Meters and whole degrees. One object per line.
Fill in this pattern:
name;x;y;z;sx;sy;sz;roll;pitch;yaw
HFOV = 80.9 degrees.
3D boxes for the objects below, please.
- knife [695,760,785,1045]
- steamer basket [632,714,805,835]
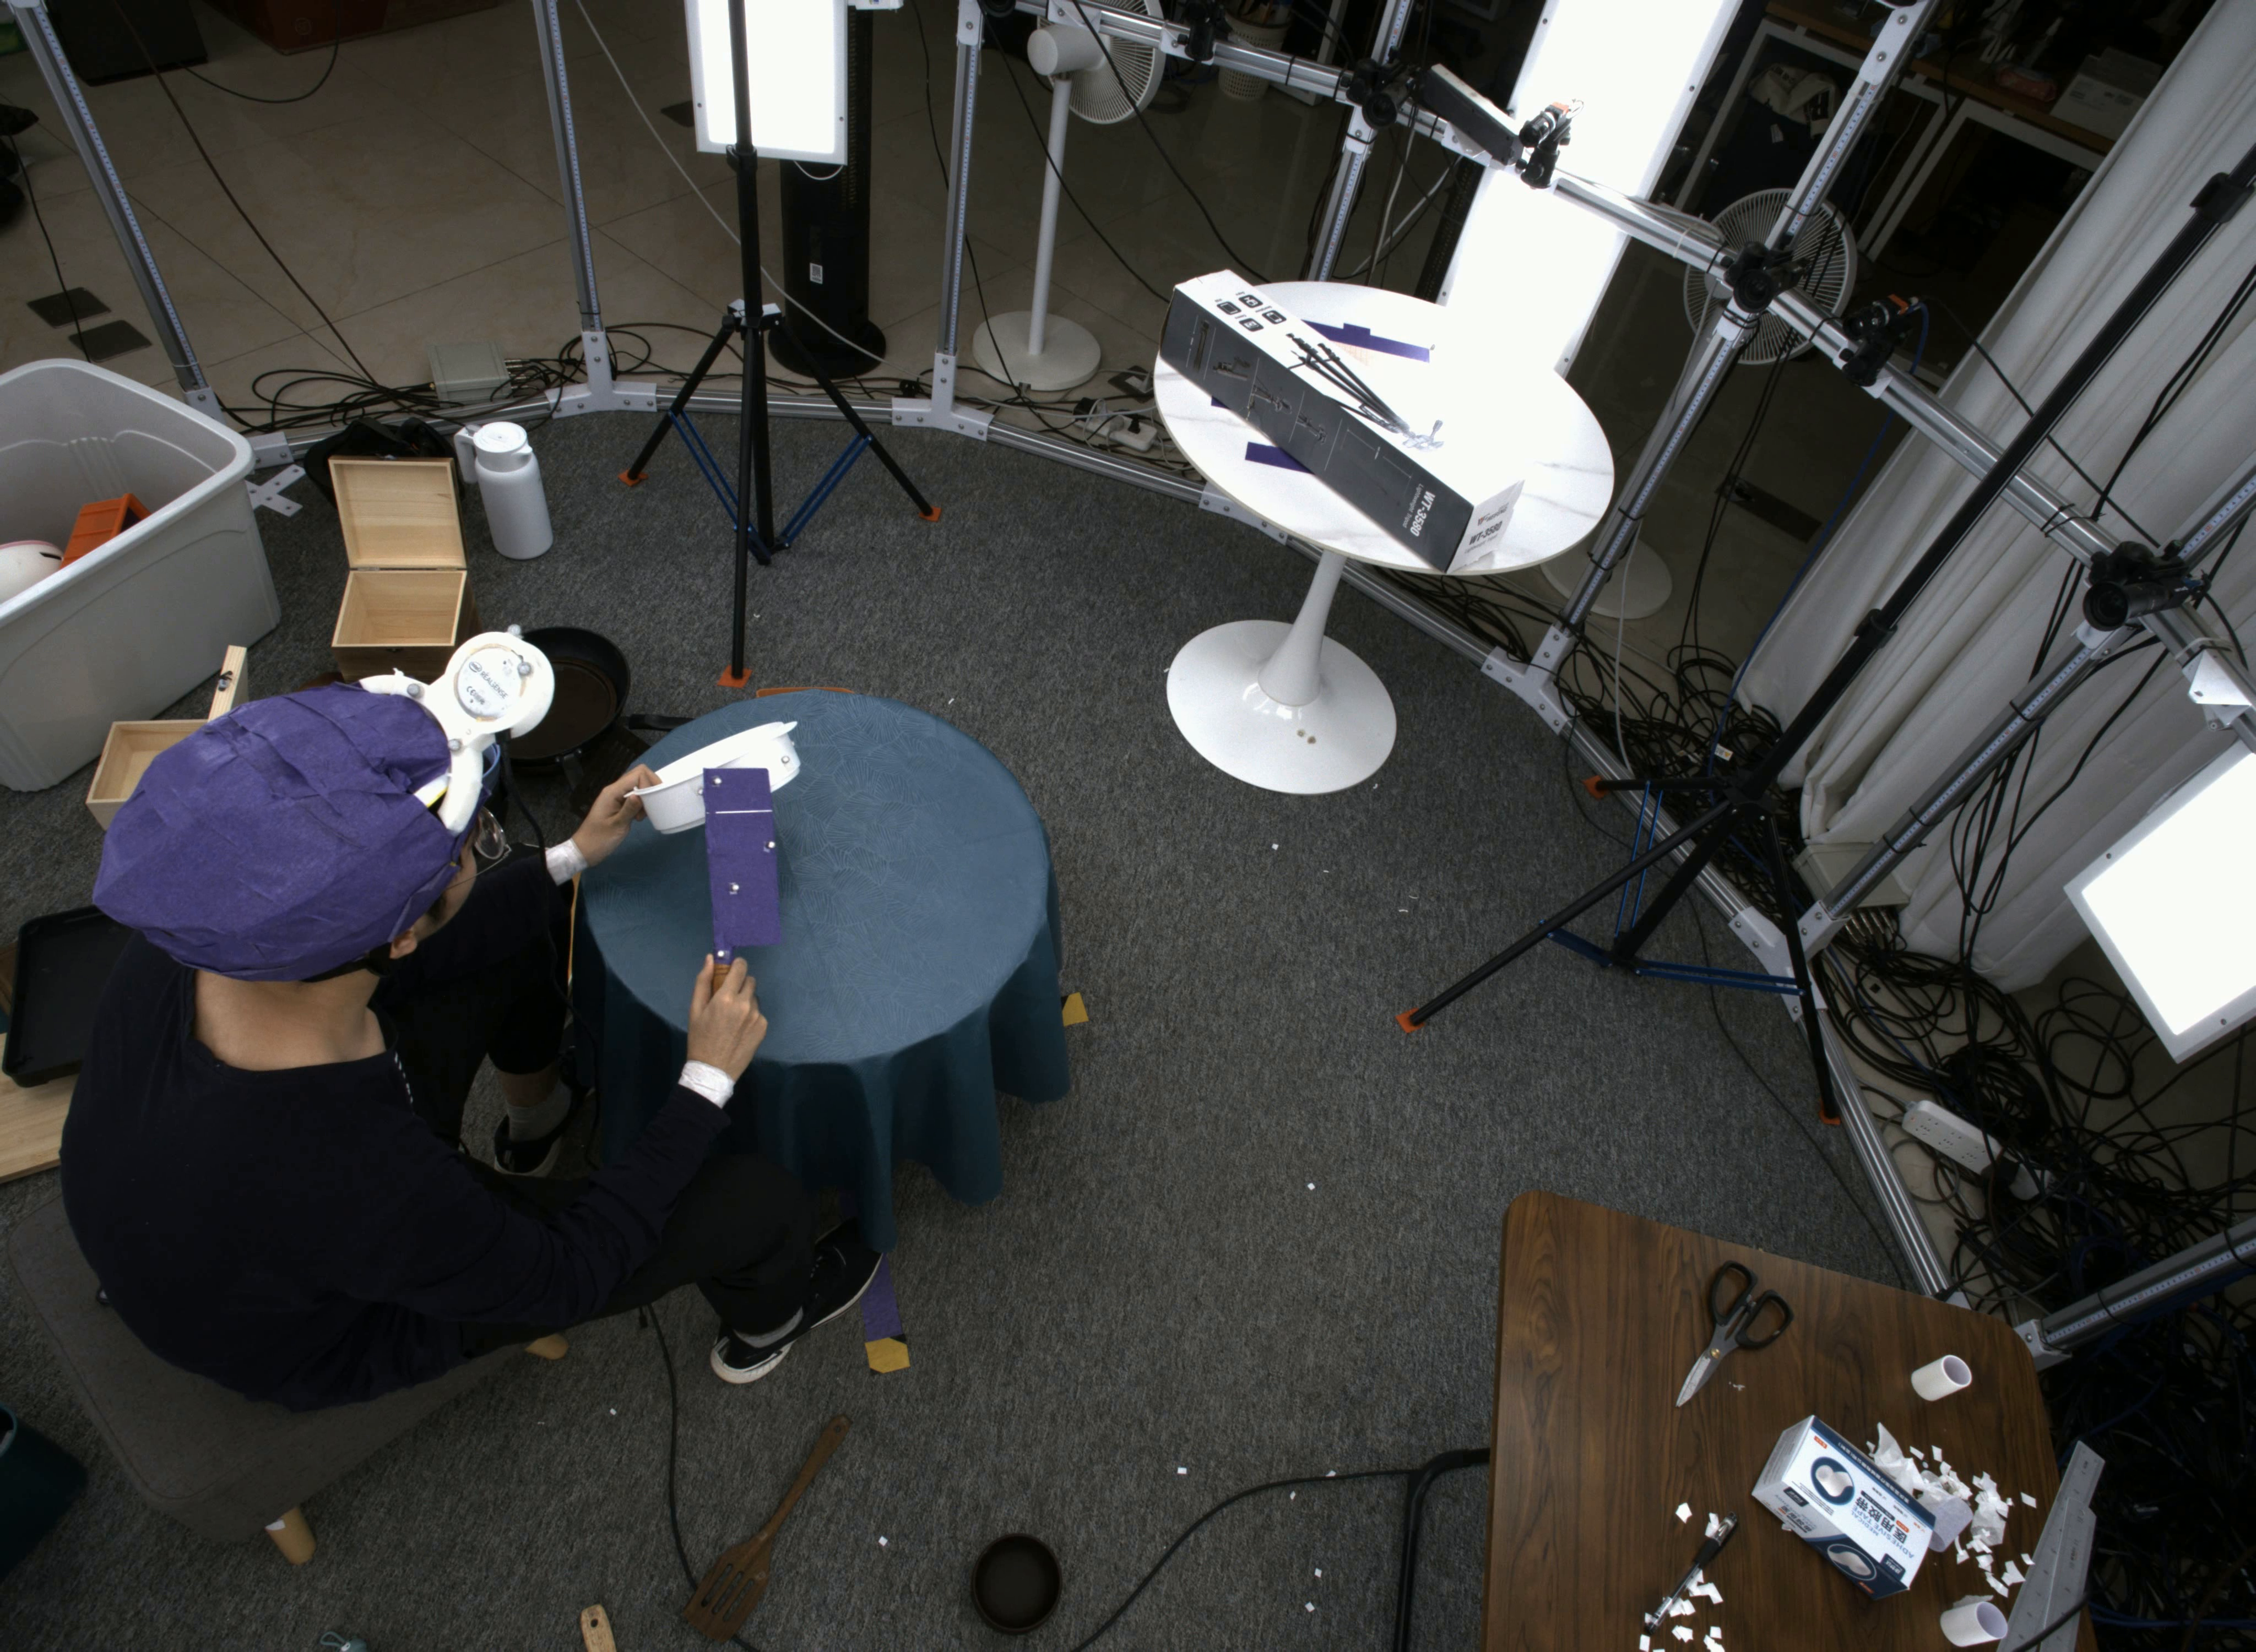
knife;-0.434;0.082;1.474;0.106;0.031;0.319;-4;90;-49
steamer basket;-0.499;-0.061;1.597;0.228;0.071;0.198;-25;15;2
